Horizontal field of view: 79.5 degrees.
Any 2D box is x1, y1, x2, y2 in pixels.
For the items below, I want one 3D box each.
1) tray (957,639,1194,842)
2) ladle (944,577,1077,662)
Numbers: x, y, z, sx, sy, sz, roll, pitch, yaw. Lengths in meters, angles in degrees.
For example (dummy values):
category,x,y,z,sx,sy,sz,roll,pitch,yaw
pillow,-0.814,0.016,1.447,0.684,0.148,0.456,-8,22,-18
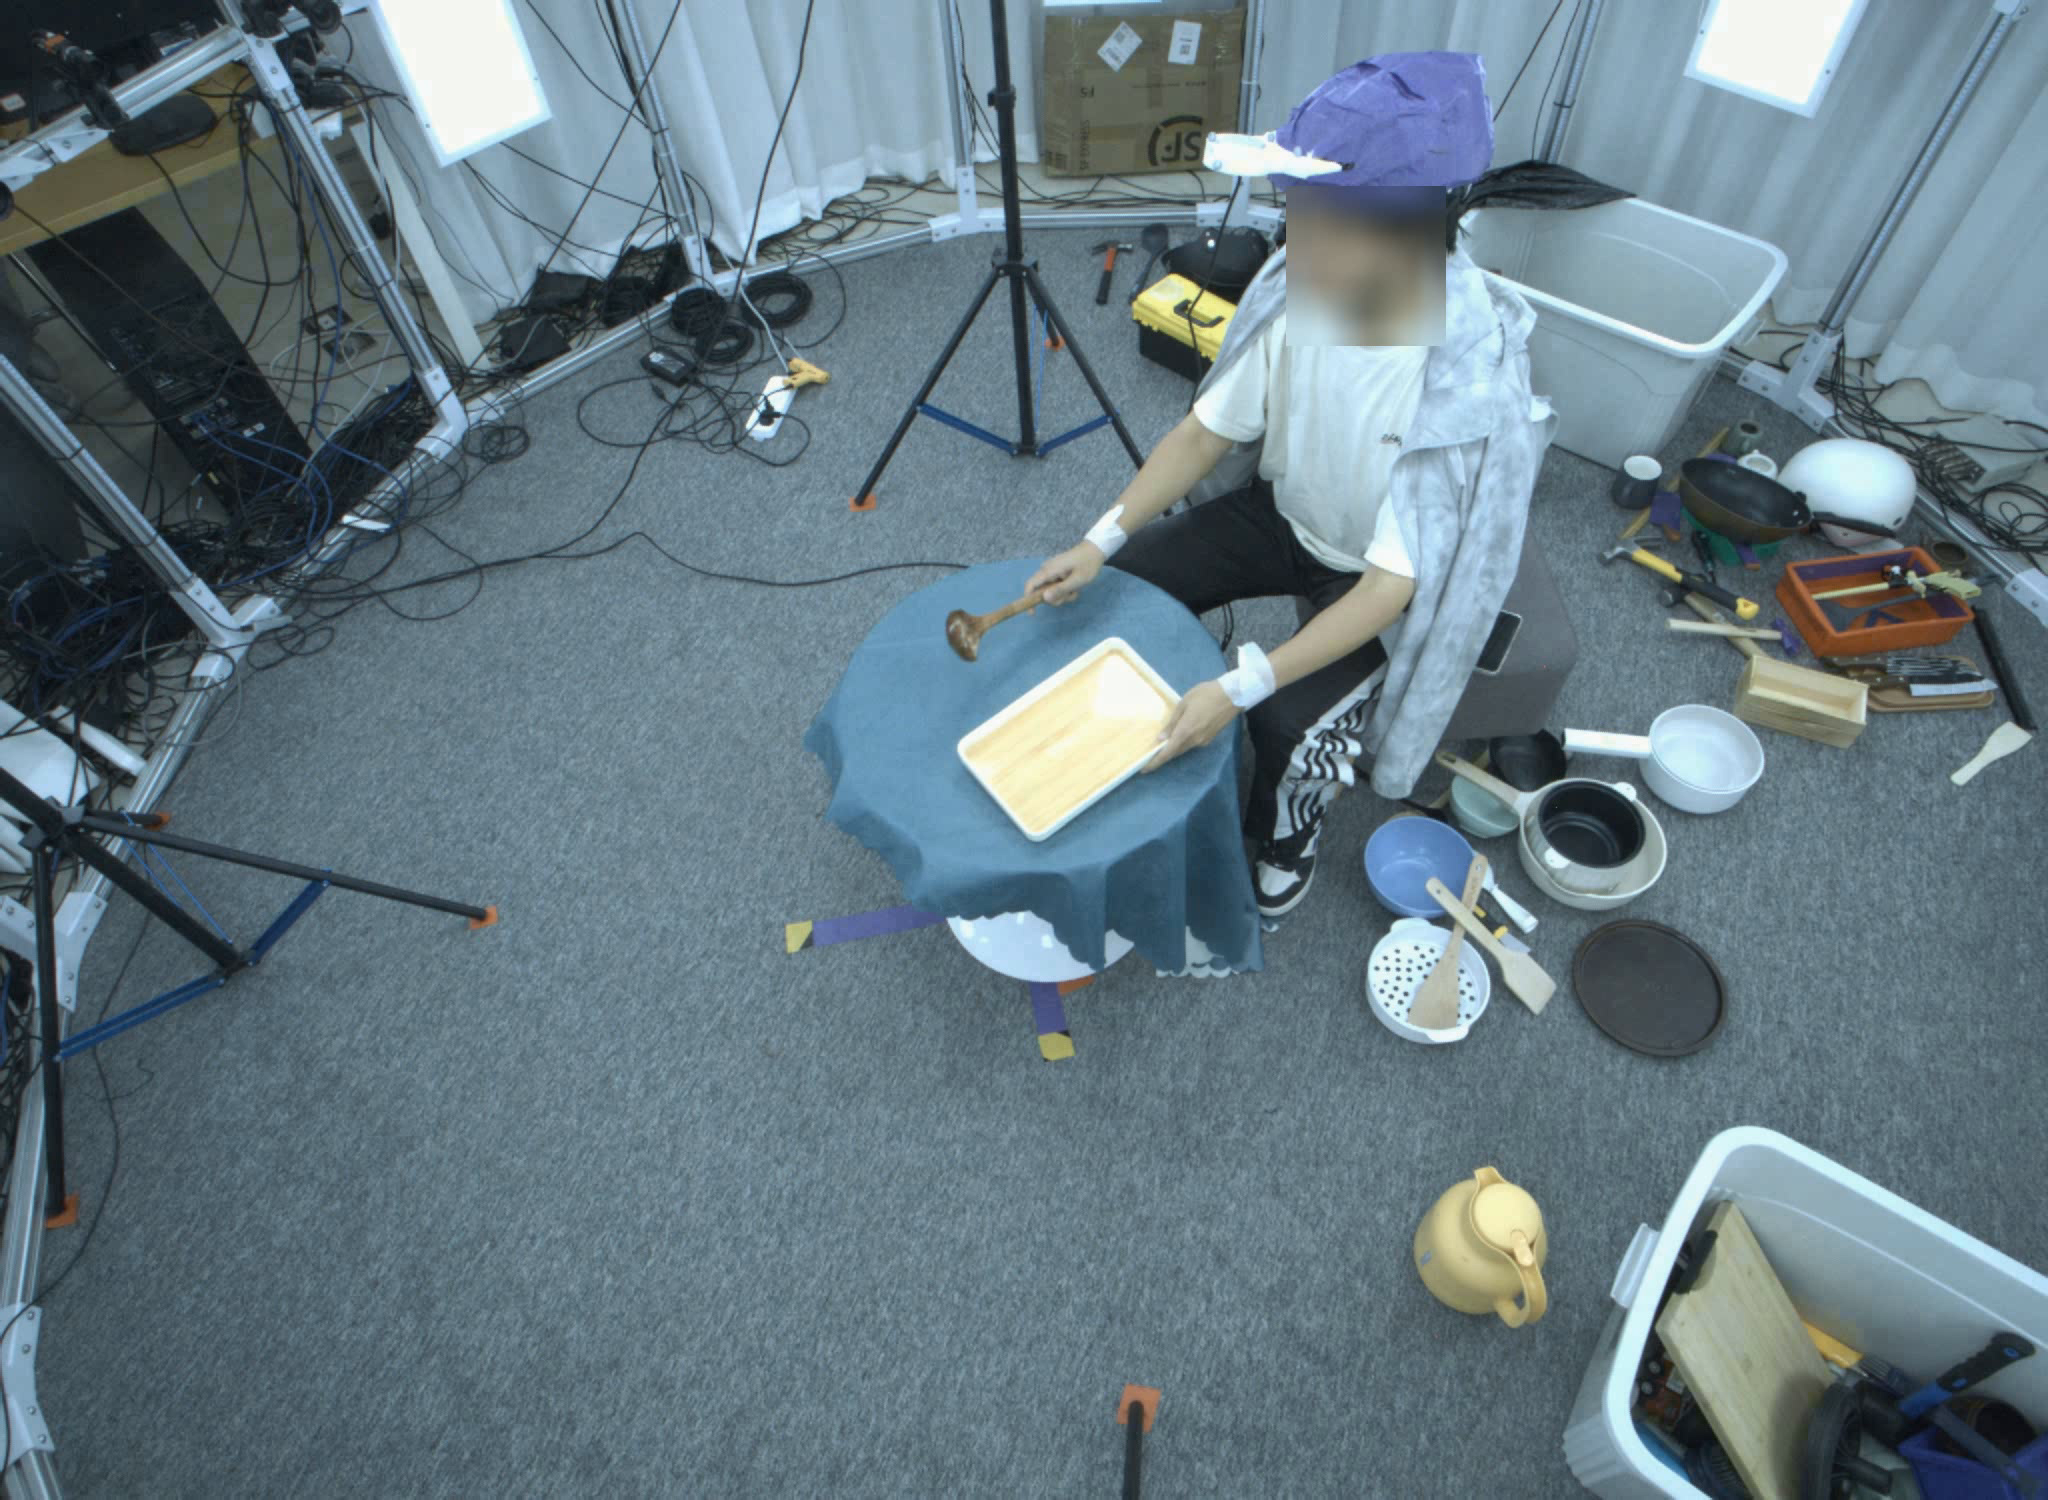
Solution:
category,x,y,z,sx,sy,sz,roll,pitch,yaw
tray,0.074,-0.018,1.754,0.302,0.028,0.188,-35,66,-15
ladle,-0.009,-0.209,1.824,0.277,0.082,0.075,-28,21,-31
